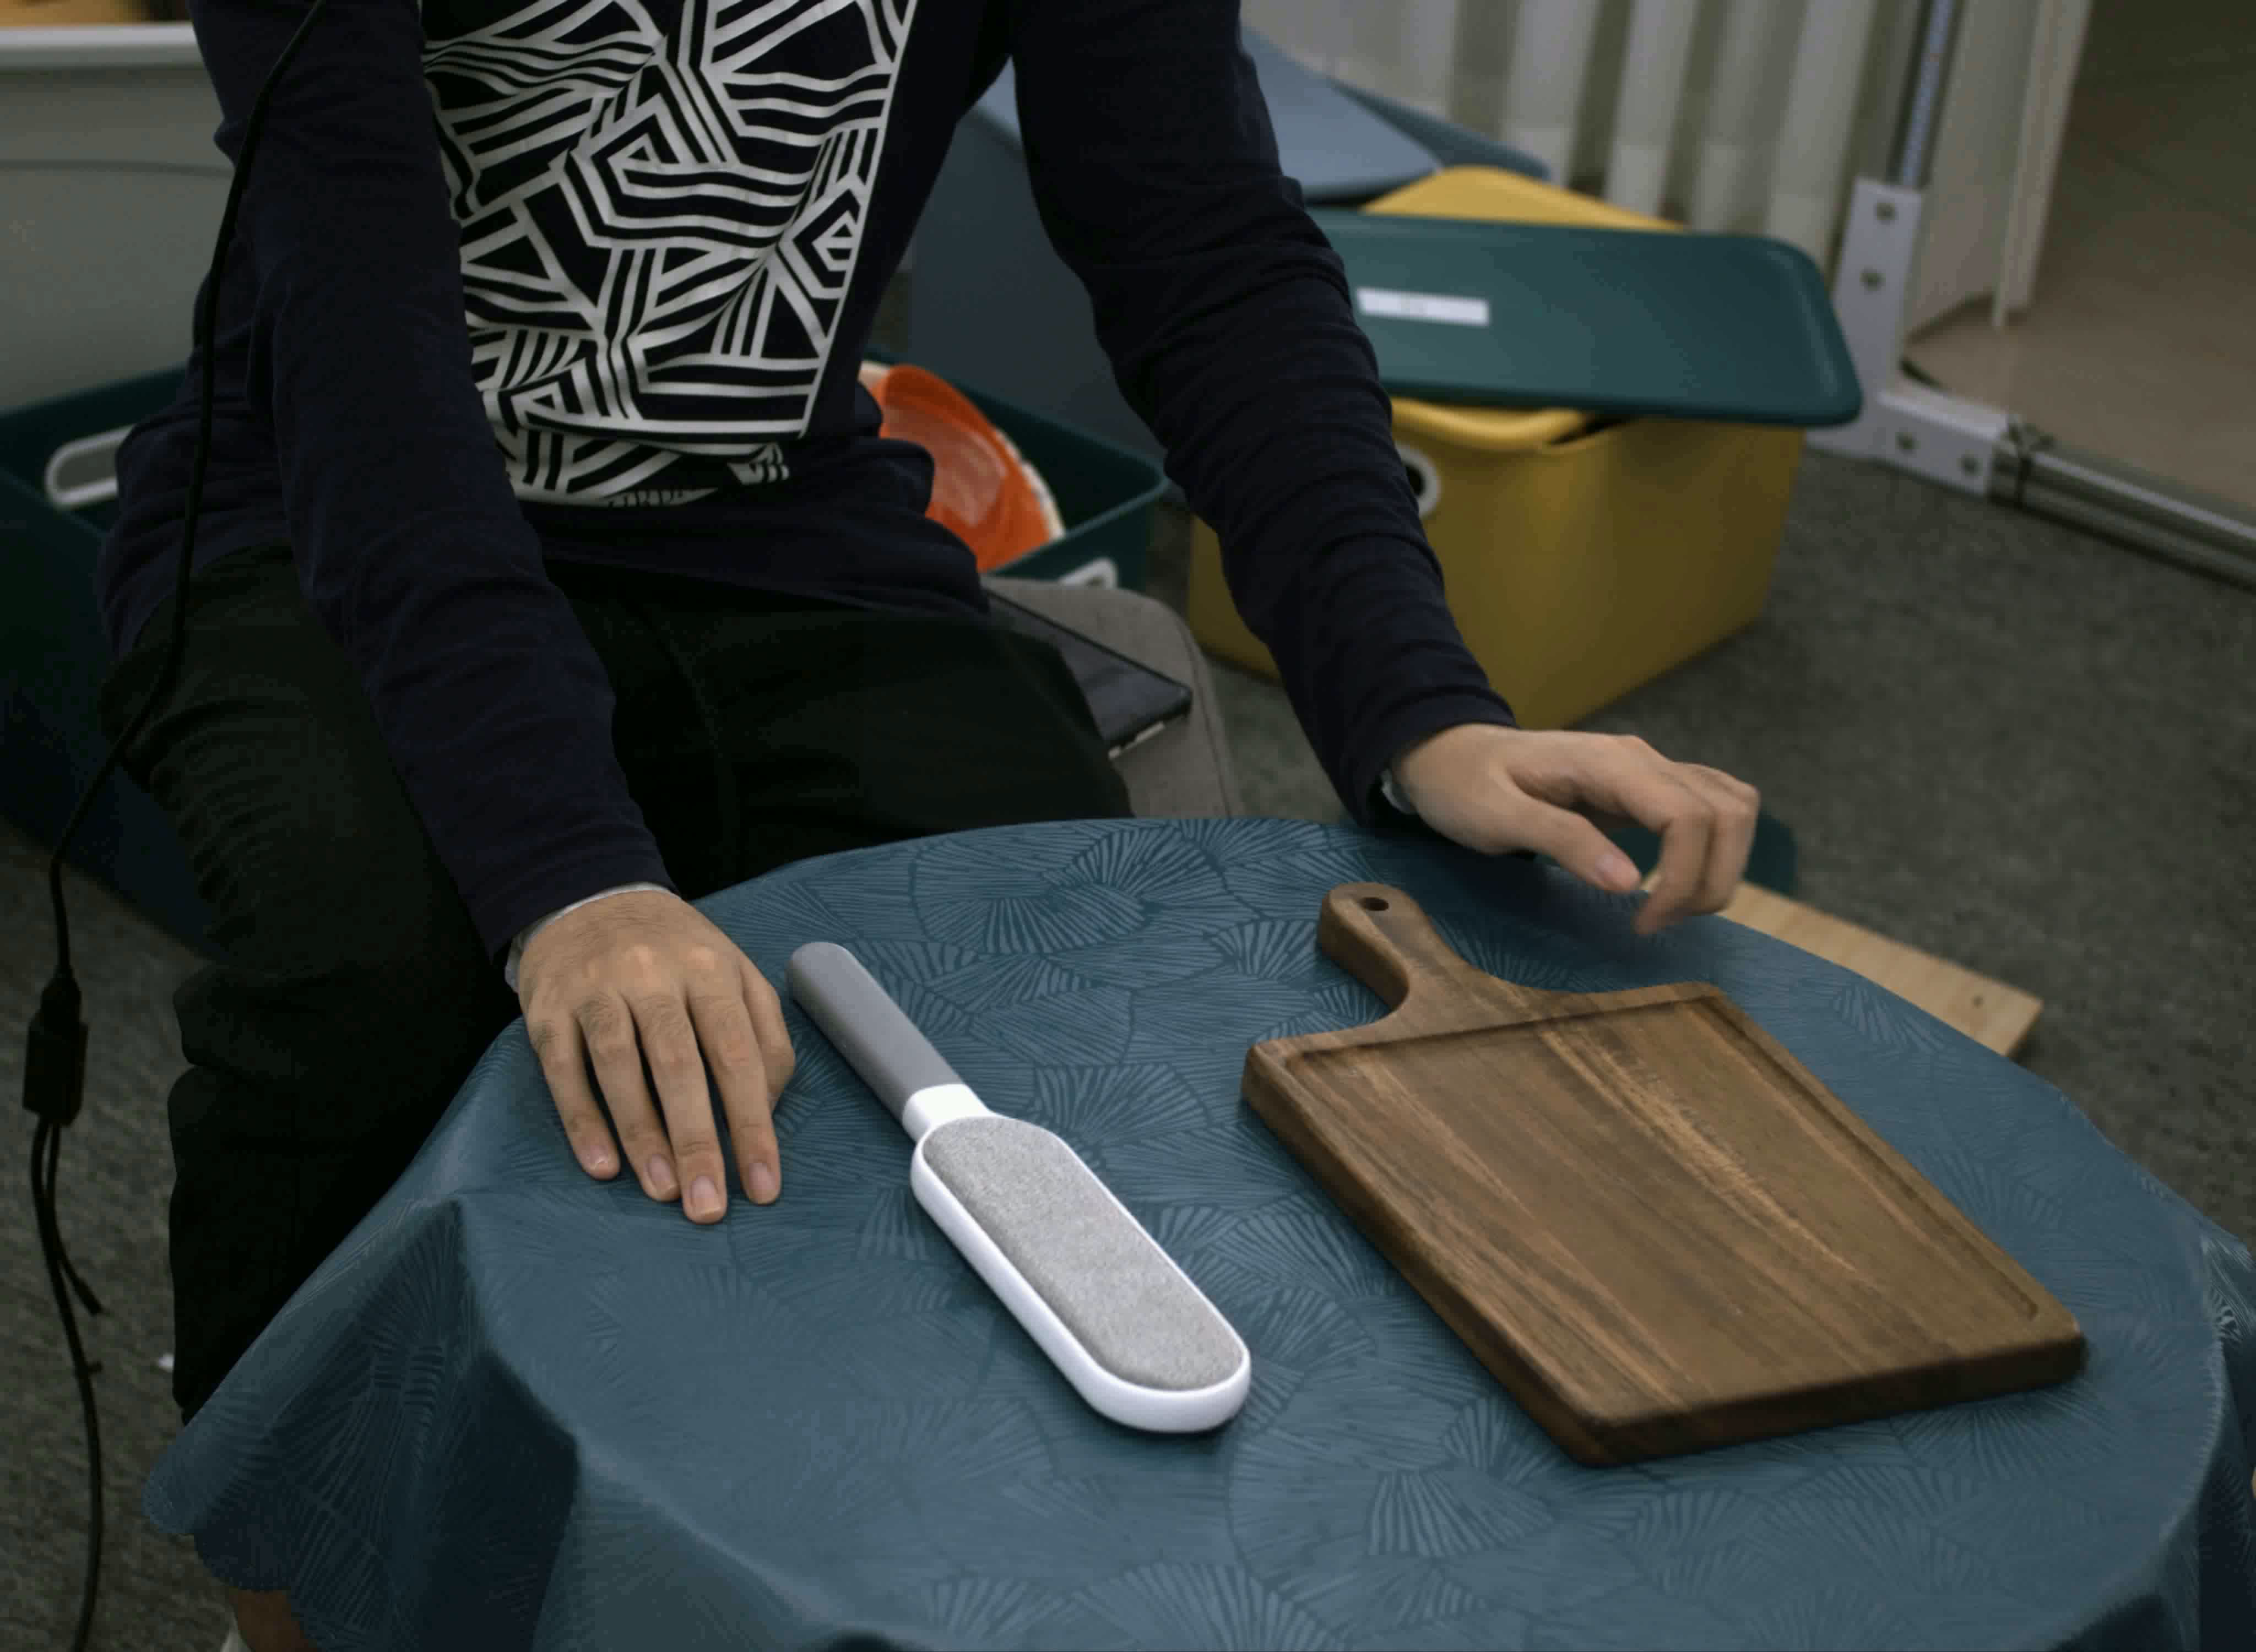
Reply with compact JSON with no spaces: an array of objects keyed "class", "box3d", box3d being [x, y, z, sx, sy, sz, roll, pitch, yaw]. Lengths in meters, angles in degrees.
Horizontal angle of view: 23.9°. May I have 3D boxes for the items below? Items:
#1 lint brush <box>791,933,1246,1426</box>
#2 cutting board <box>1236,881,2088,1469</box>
[{"class":"lint brush","box3d":[-0.044,0.113,1.786,0.060,0.021,0.312,-12,32,-23]},{"class":"cutting board","box3d":[0.157,0.107,1.851,0.200,0.023,0.355,-7,29,-25]}]
